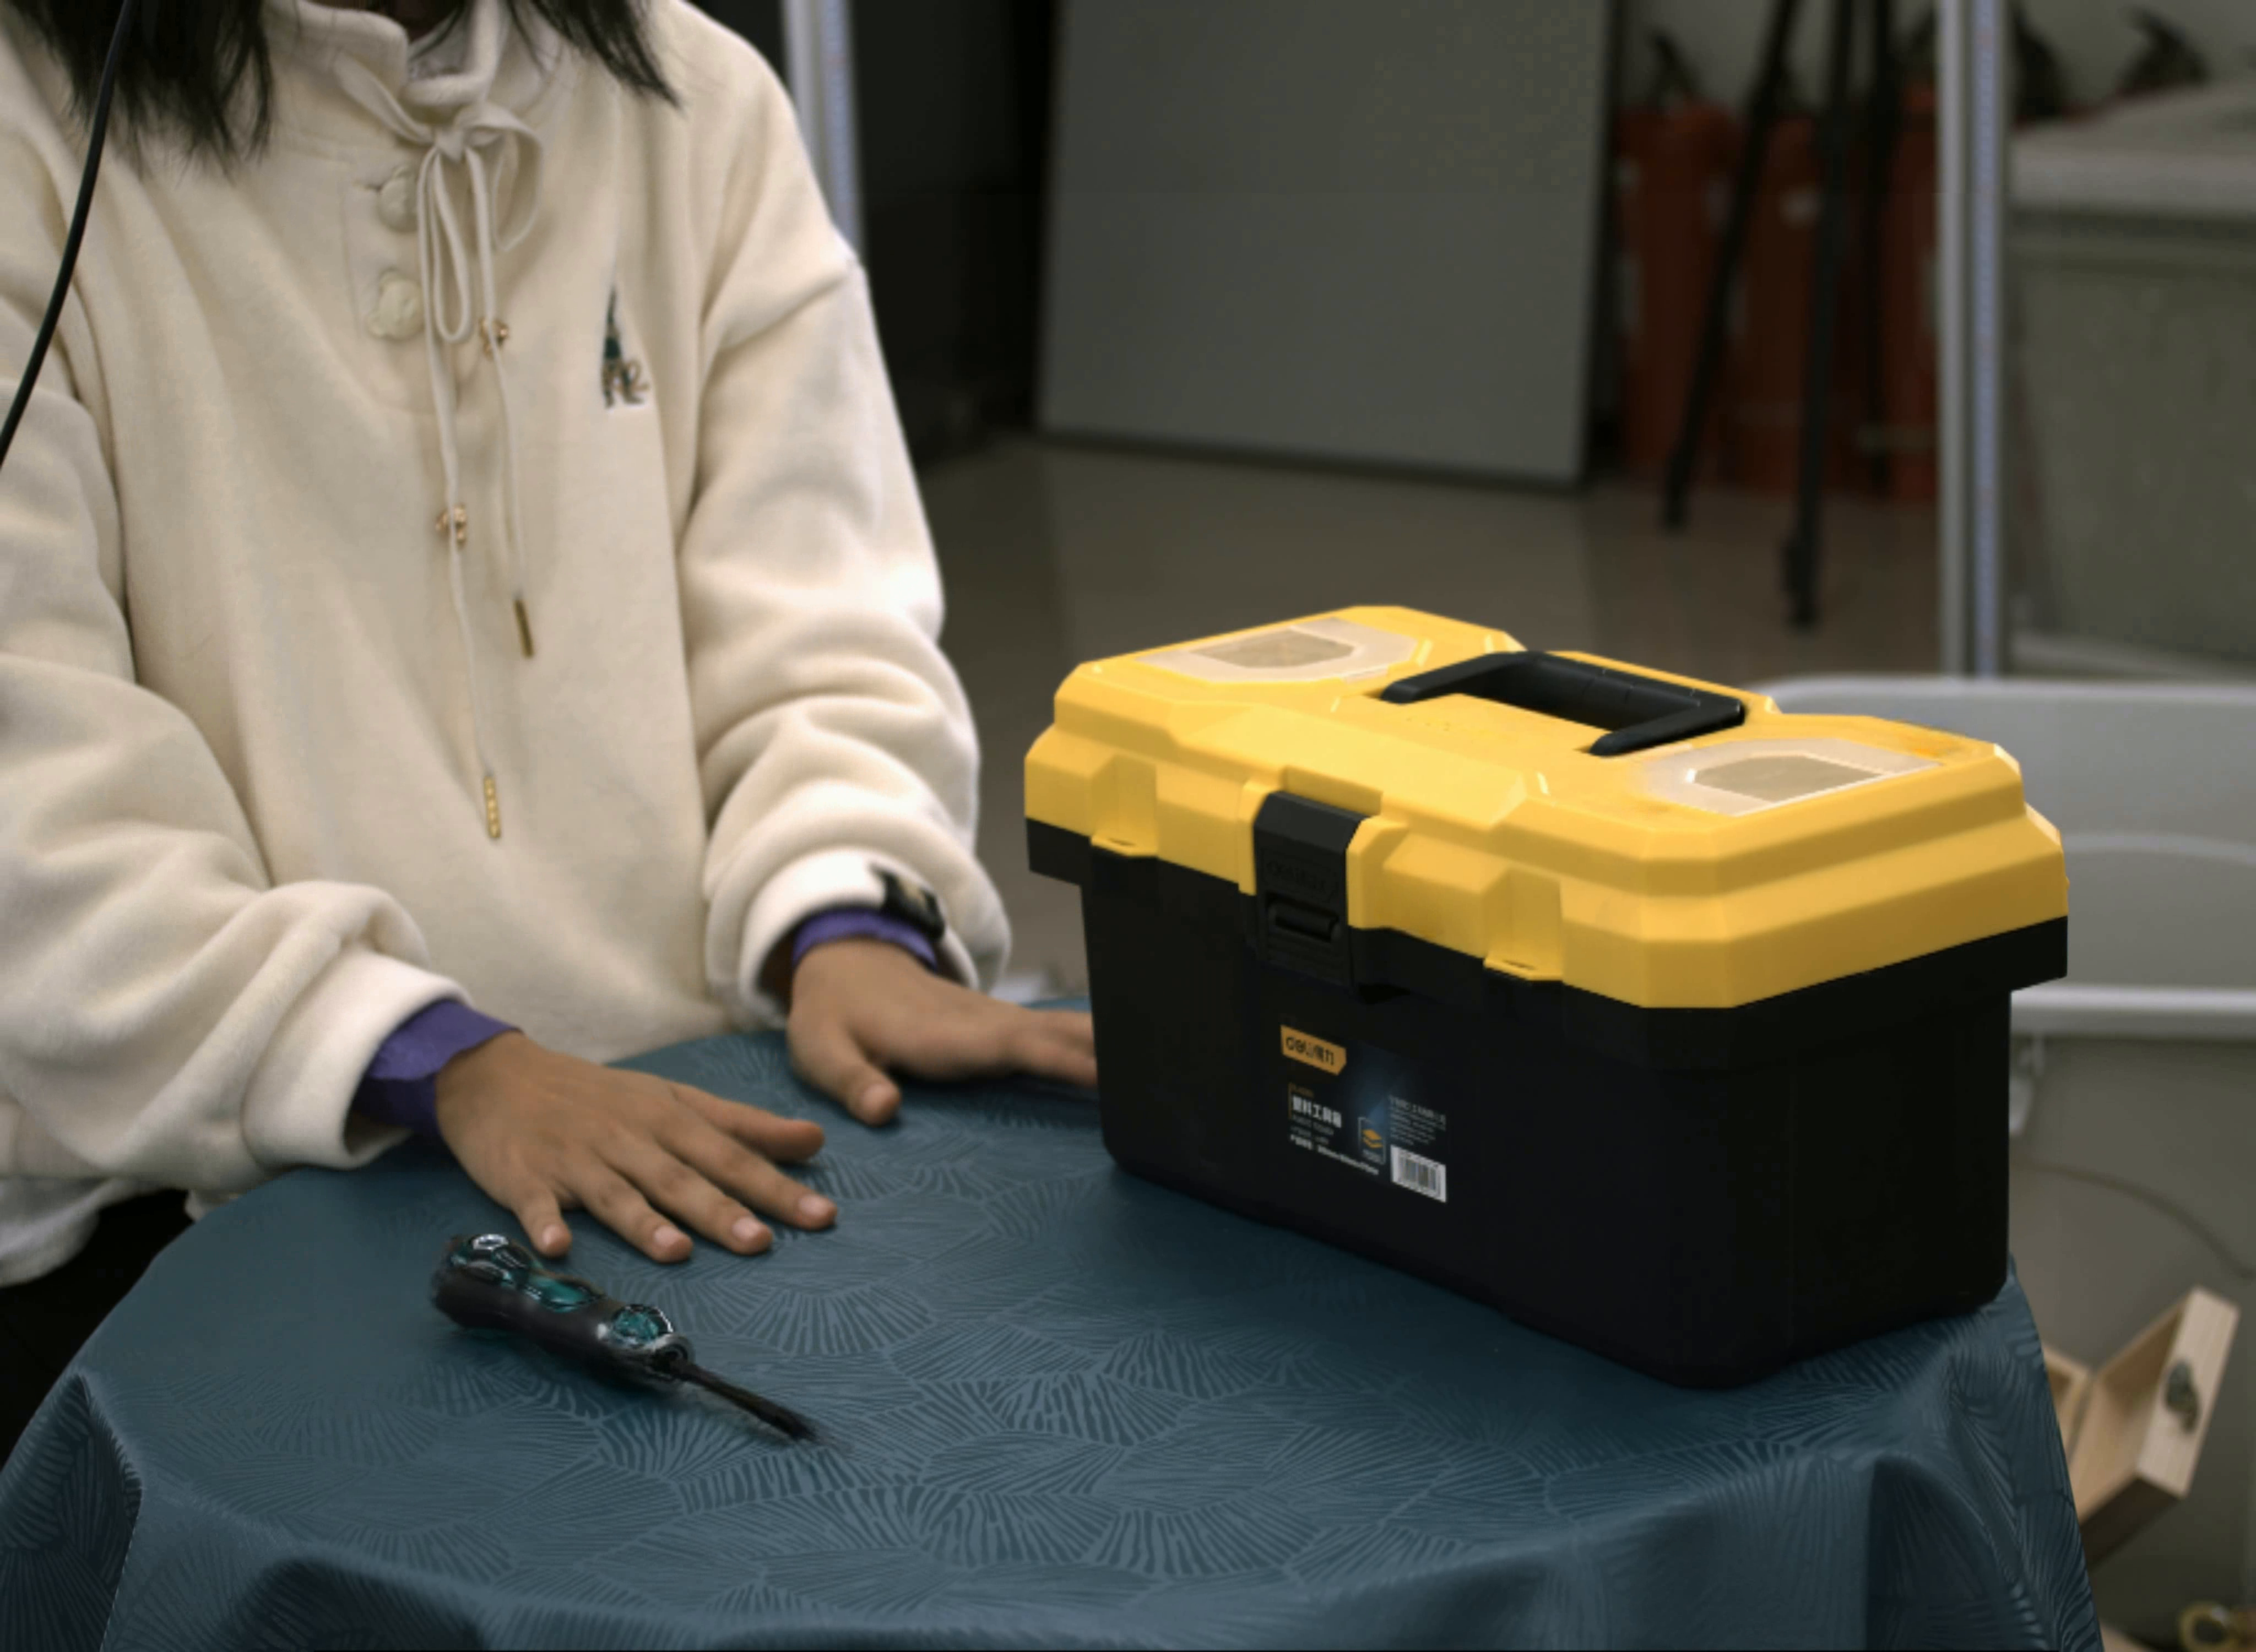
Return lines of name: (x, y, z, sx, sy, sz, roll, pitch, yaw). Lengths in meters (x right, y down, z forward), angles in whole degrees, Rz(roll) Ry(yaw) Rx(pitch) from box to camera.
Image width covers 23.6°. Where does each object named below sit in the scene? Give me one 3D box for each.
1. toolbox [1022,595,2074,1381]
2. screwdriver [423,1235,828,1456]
toolbox: (0.124, 0.043, 1.684, 0.177, 0.175, 0.355, -12, 16, -32)
screwdriver: (-0.149, 0.159, 1.617, 0.033, 0.034, 0.192, -14, 21, -39)
